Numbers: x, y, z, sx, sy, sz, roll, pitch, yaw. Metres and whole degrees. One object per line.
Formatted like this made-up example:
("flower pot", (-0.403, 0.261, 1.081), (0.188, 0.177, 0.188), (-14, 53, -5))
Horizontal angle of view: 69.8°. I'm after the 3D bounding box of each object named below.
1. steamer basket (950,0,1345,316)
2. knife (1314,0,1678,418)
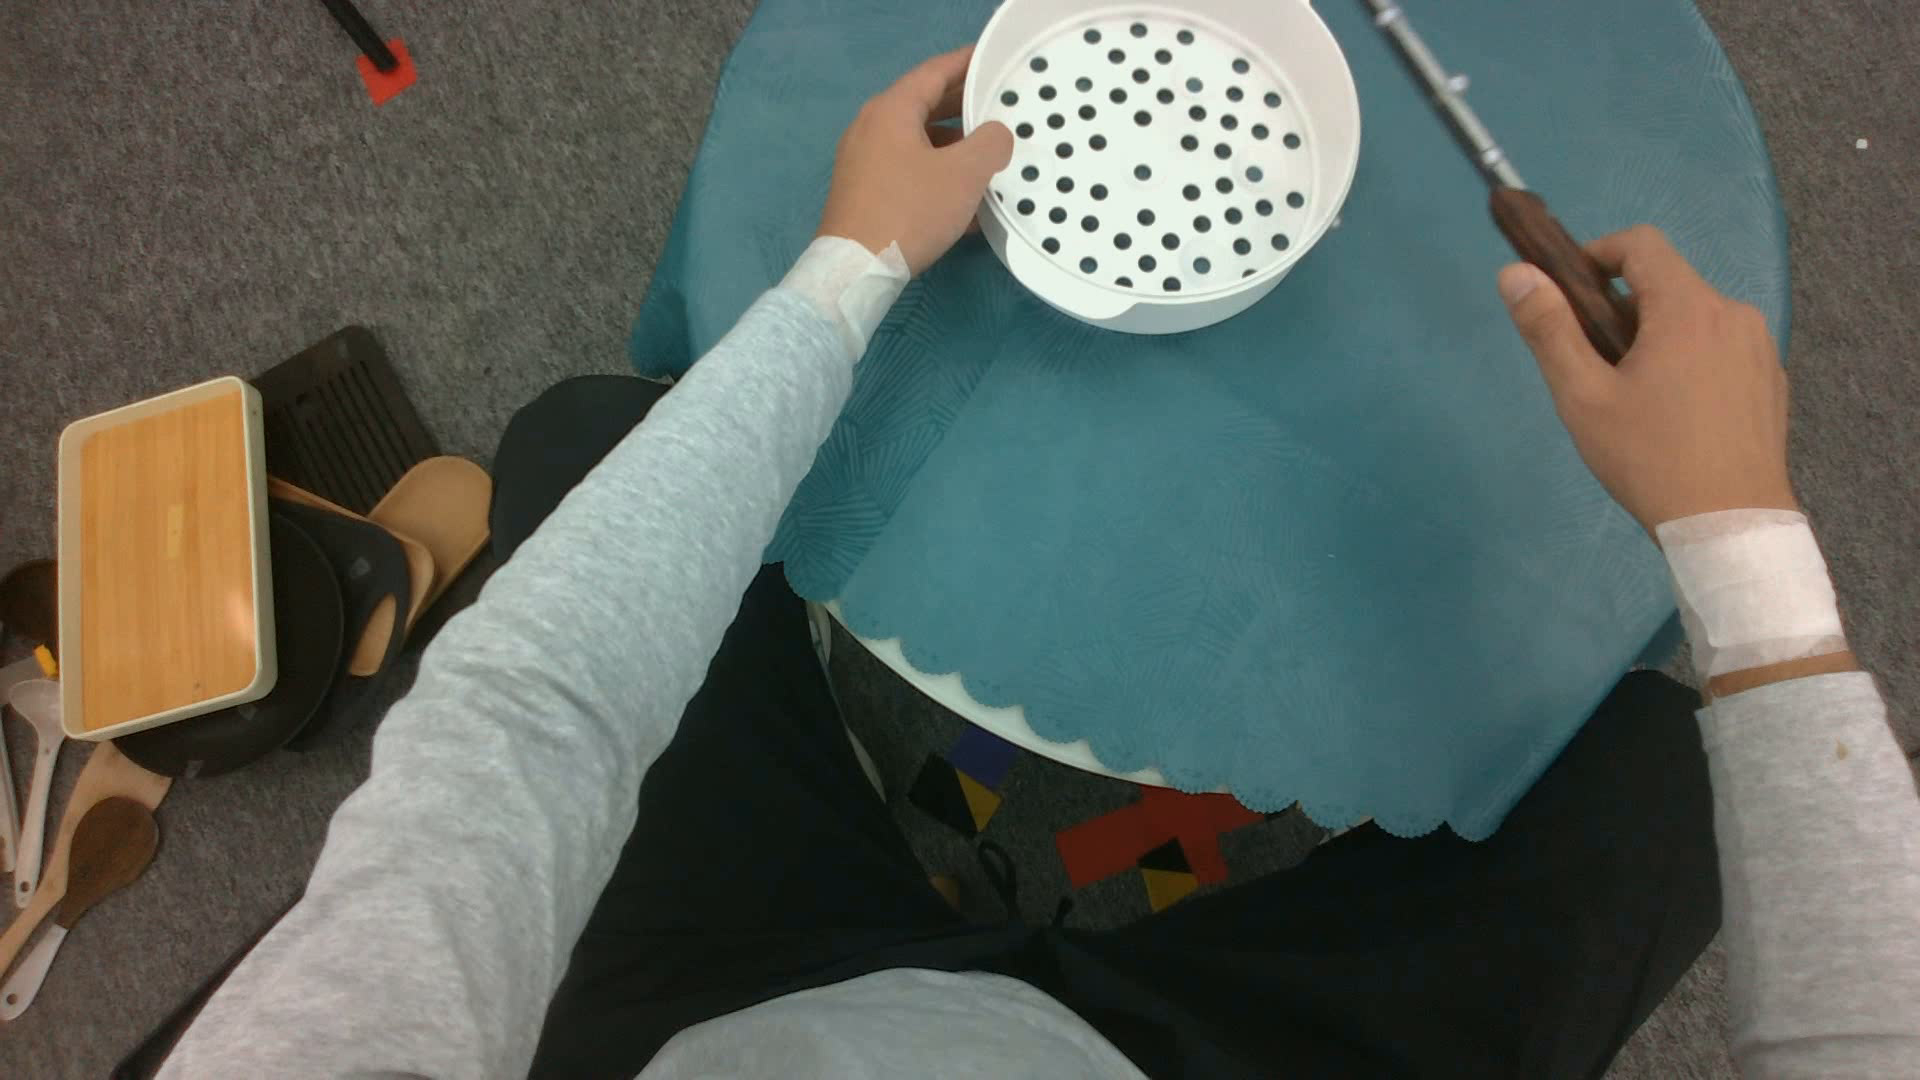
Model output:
("steamer basket", (0.095, -0.217, 0.726), (0.202, 0.069, 0.231), (29, 78, 4))
("knife", (0.217, -0.172, 0.606), (0.020, 0.050, 0.289), (-42, 77, 36))
